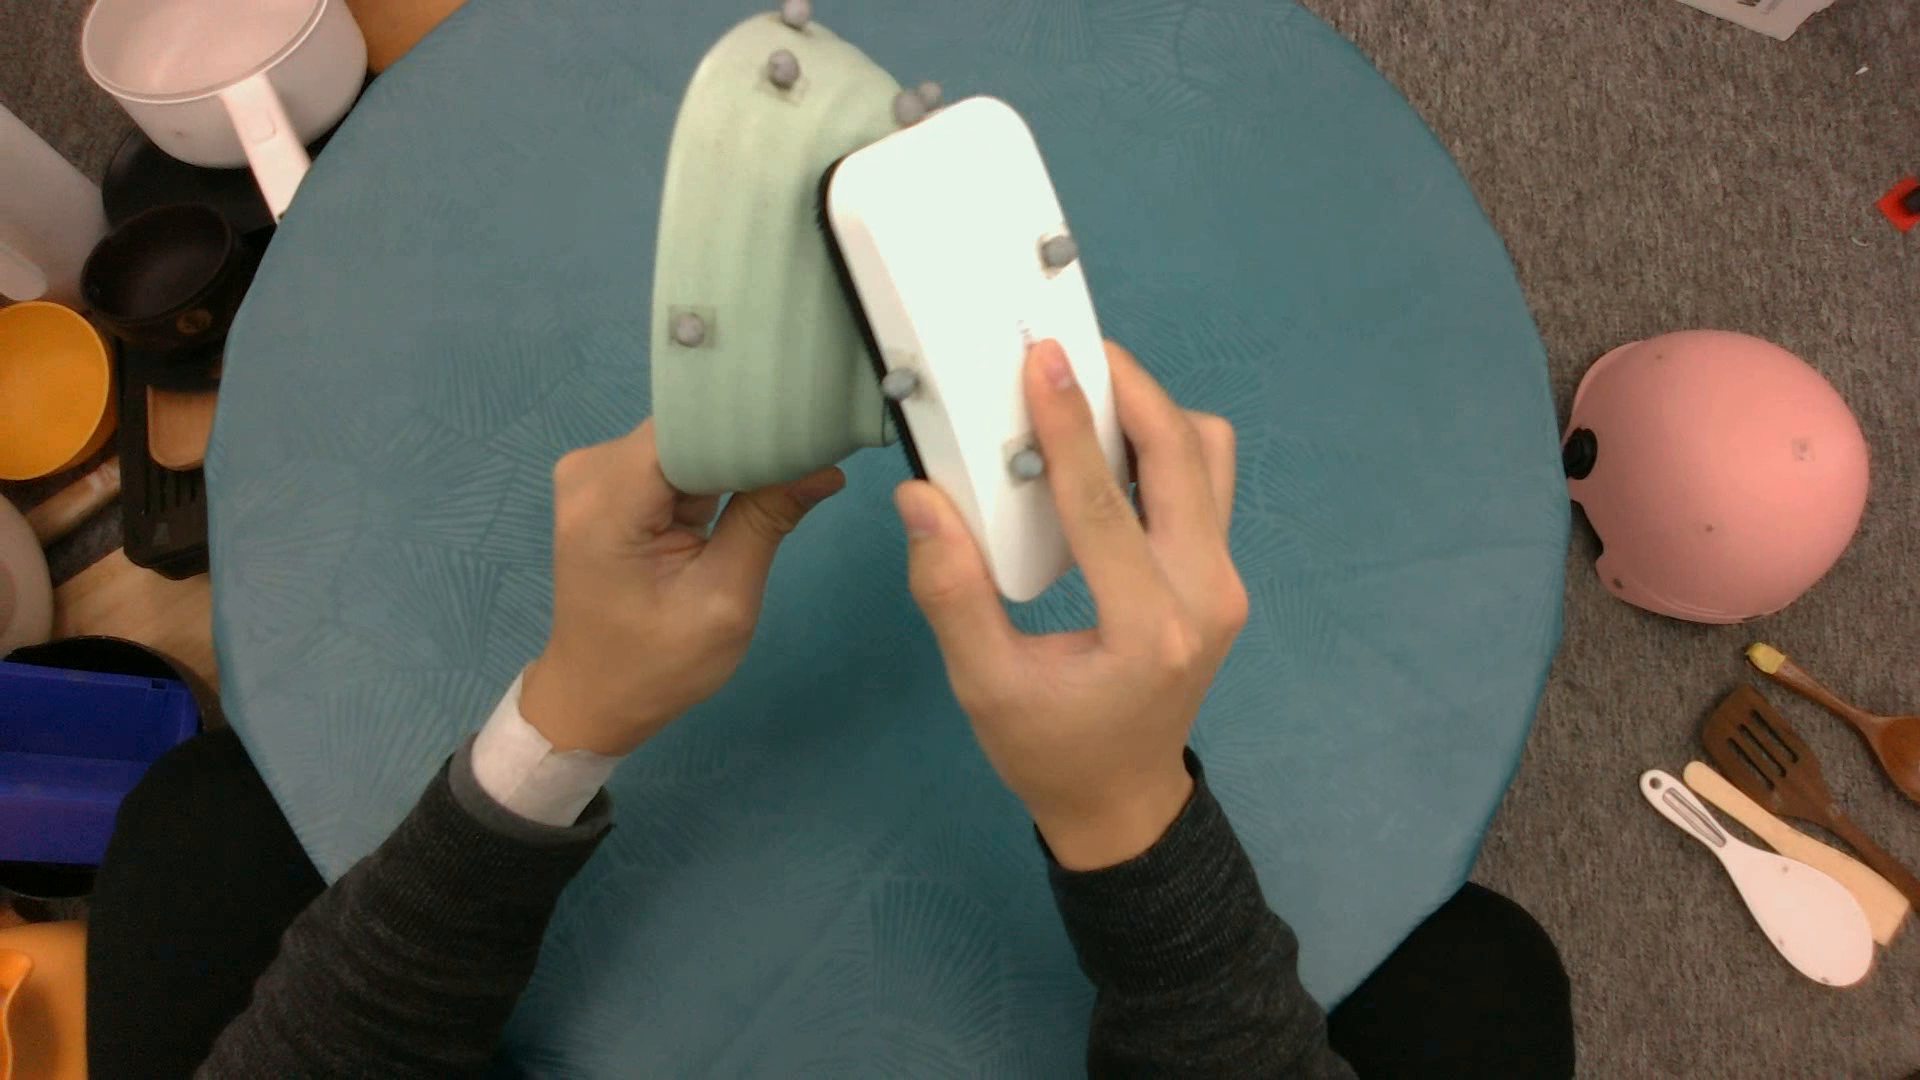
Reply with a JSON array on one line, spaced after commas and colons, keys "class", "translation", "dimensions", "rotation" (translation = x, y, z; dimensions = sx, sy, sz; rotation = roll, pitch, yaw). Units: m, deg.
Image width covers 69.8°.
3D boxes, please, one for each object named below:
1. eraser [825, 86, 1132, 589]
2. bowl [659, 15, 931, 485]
[{"class": "eraser", "translation": [0.008, -0.052, 0.374], "dimensions": [0.063, 0.034, 0.131], "rotation": [-36, 120, -34]}, {"class": "bowl", "translation": [-0.036, -0.081, 0.417], "dimensions": [0.058, 0.151, 0.152], "rotation": [16, 75, 5]}]
